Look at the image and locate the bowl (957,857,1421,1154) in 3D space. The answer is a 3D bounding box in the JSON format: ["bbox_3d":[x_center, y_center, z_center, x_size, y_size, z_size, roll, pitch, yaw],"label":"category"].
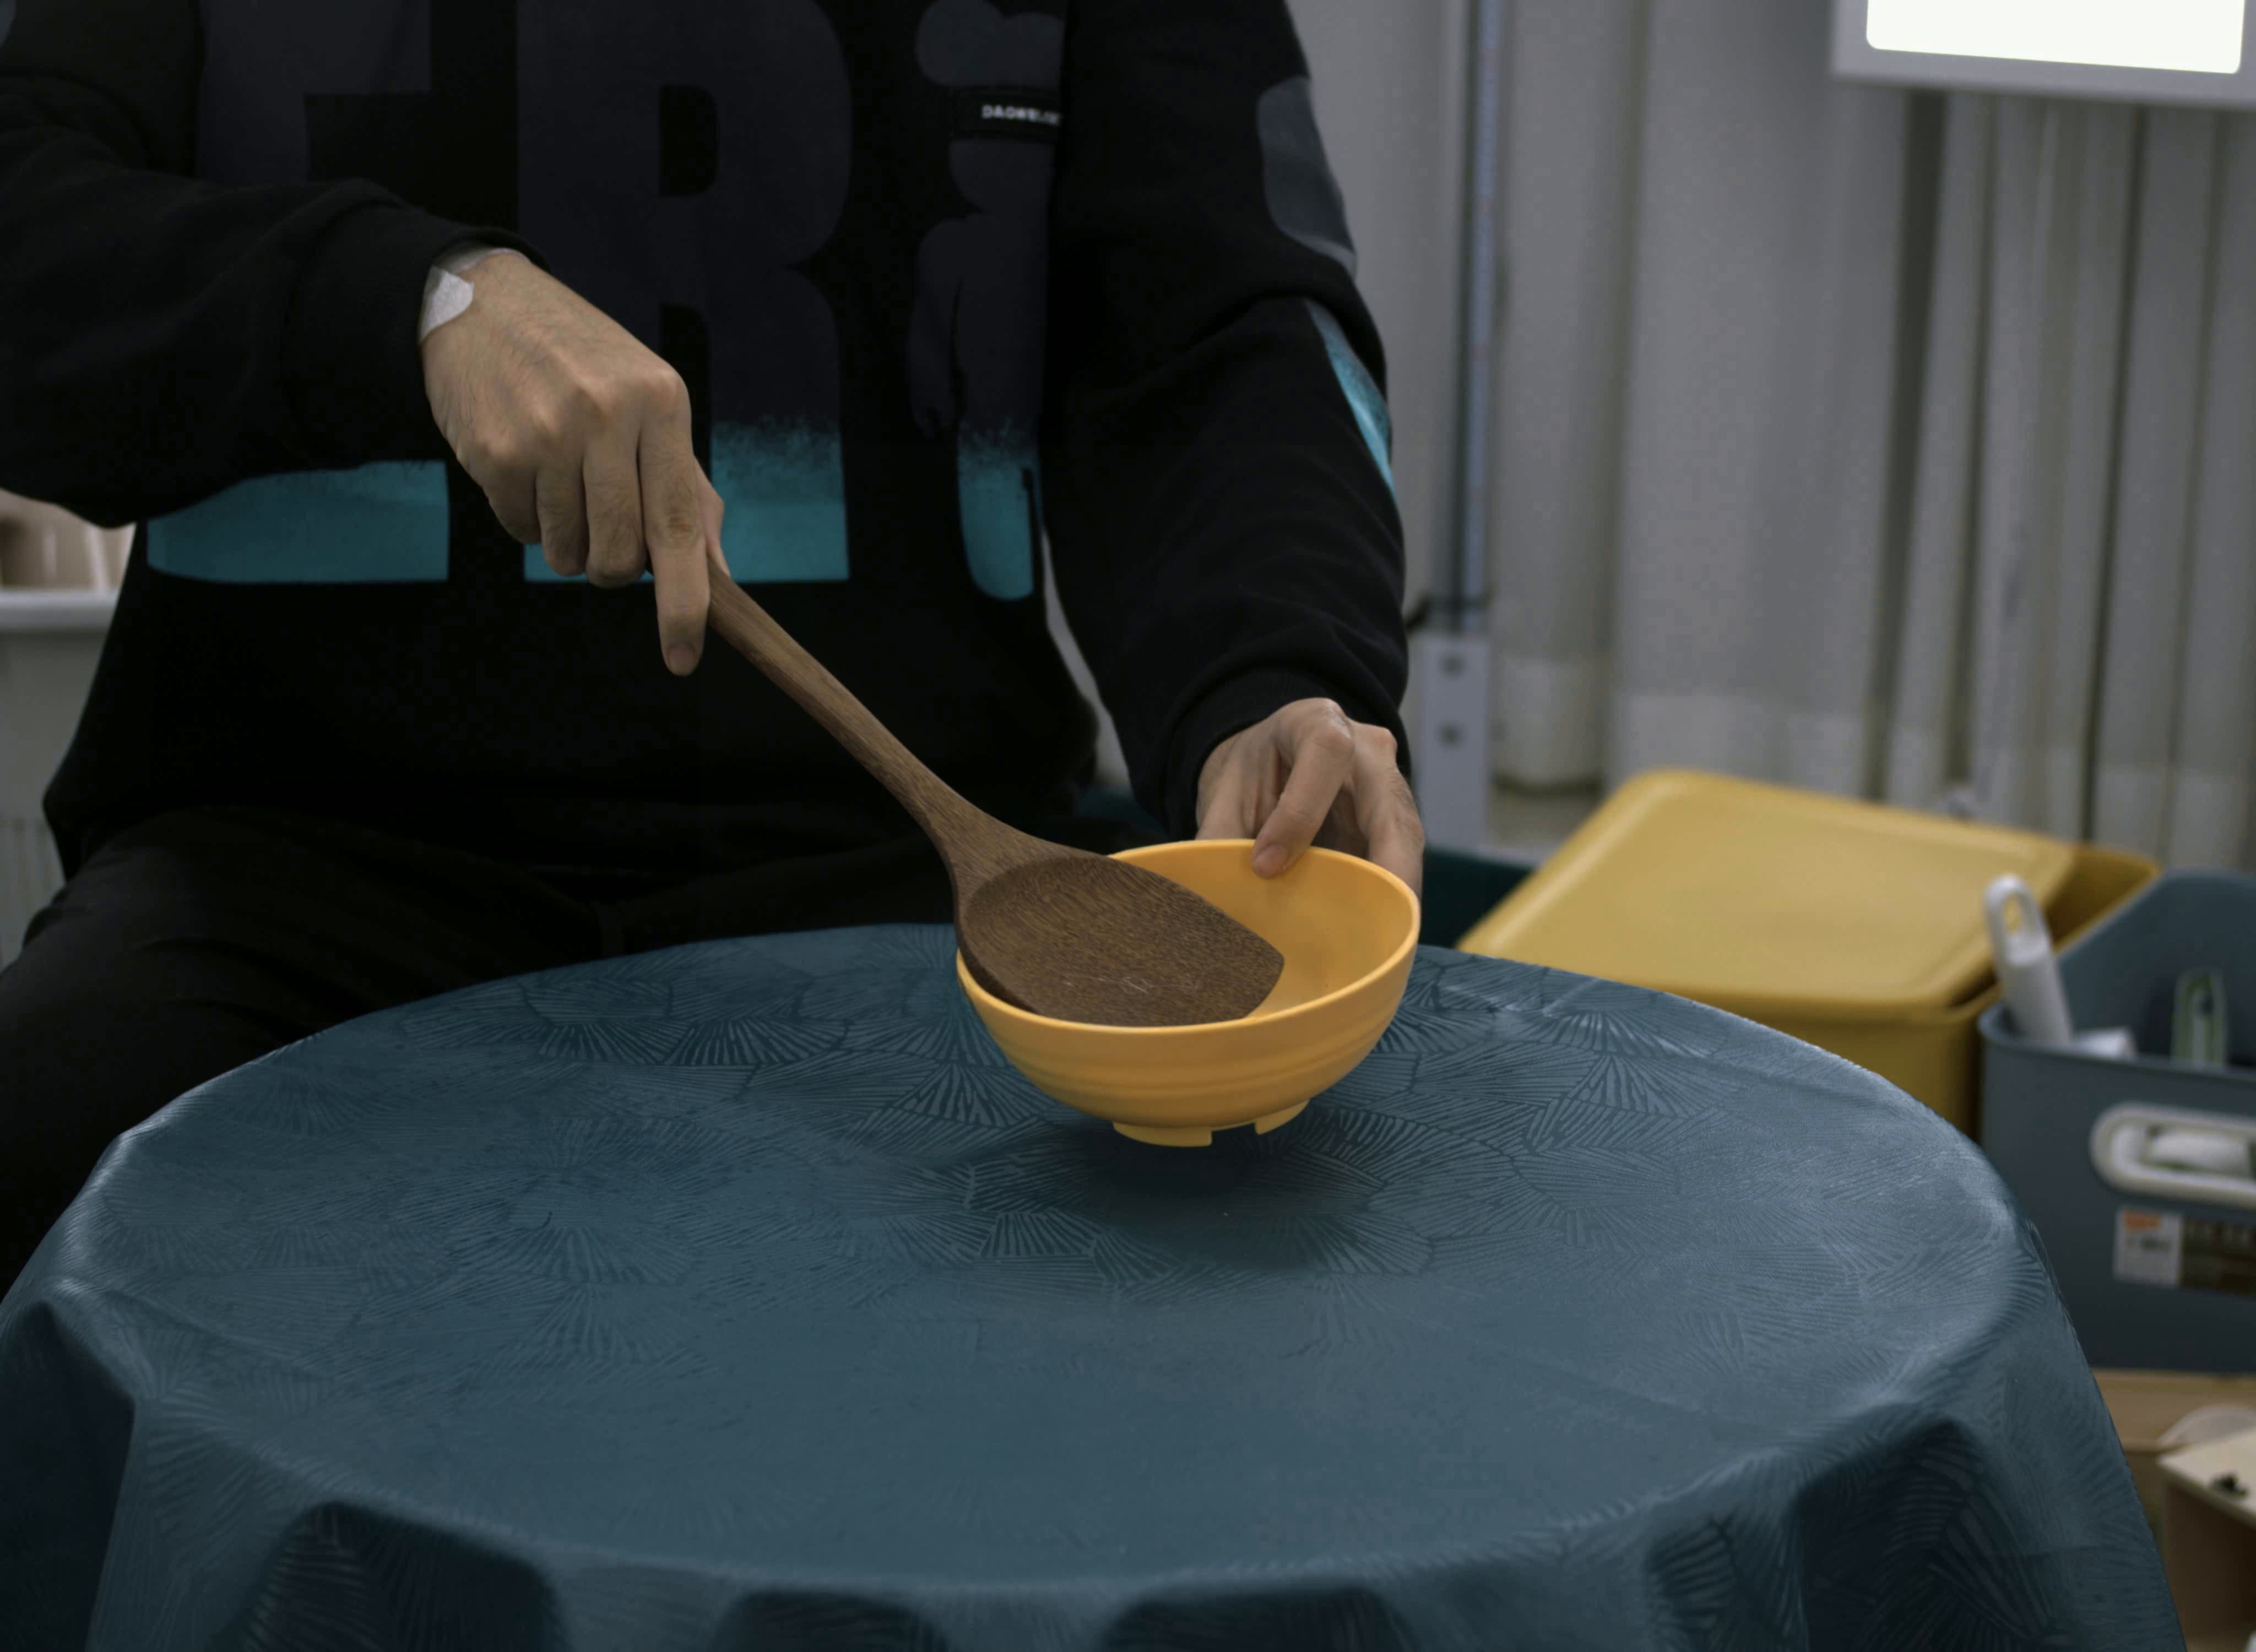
[{"bbox_3d":[0.020,0.062,1.642,0.145,0.061,0.144,-3,21,2],"label":"bowl"}]

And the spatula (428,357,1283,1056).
[{"bbox_3d":[-0.103,-0.047,1.697,0.096,0.016,0.381,-23,54,-43],"label":"spatula"}]
